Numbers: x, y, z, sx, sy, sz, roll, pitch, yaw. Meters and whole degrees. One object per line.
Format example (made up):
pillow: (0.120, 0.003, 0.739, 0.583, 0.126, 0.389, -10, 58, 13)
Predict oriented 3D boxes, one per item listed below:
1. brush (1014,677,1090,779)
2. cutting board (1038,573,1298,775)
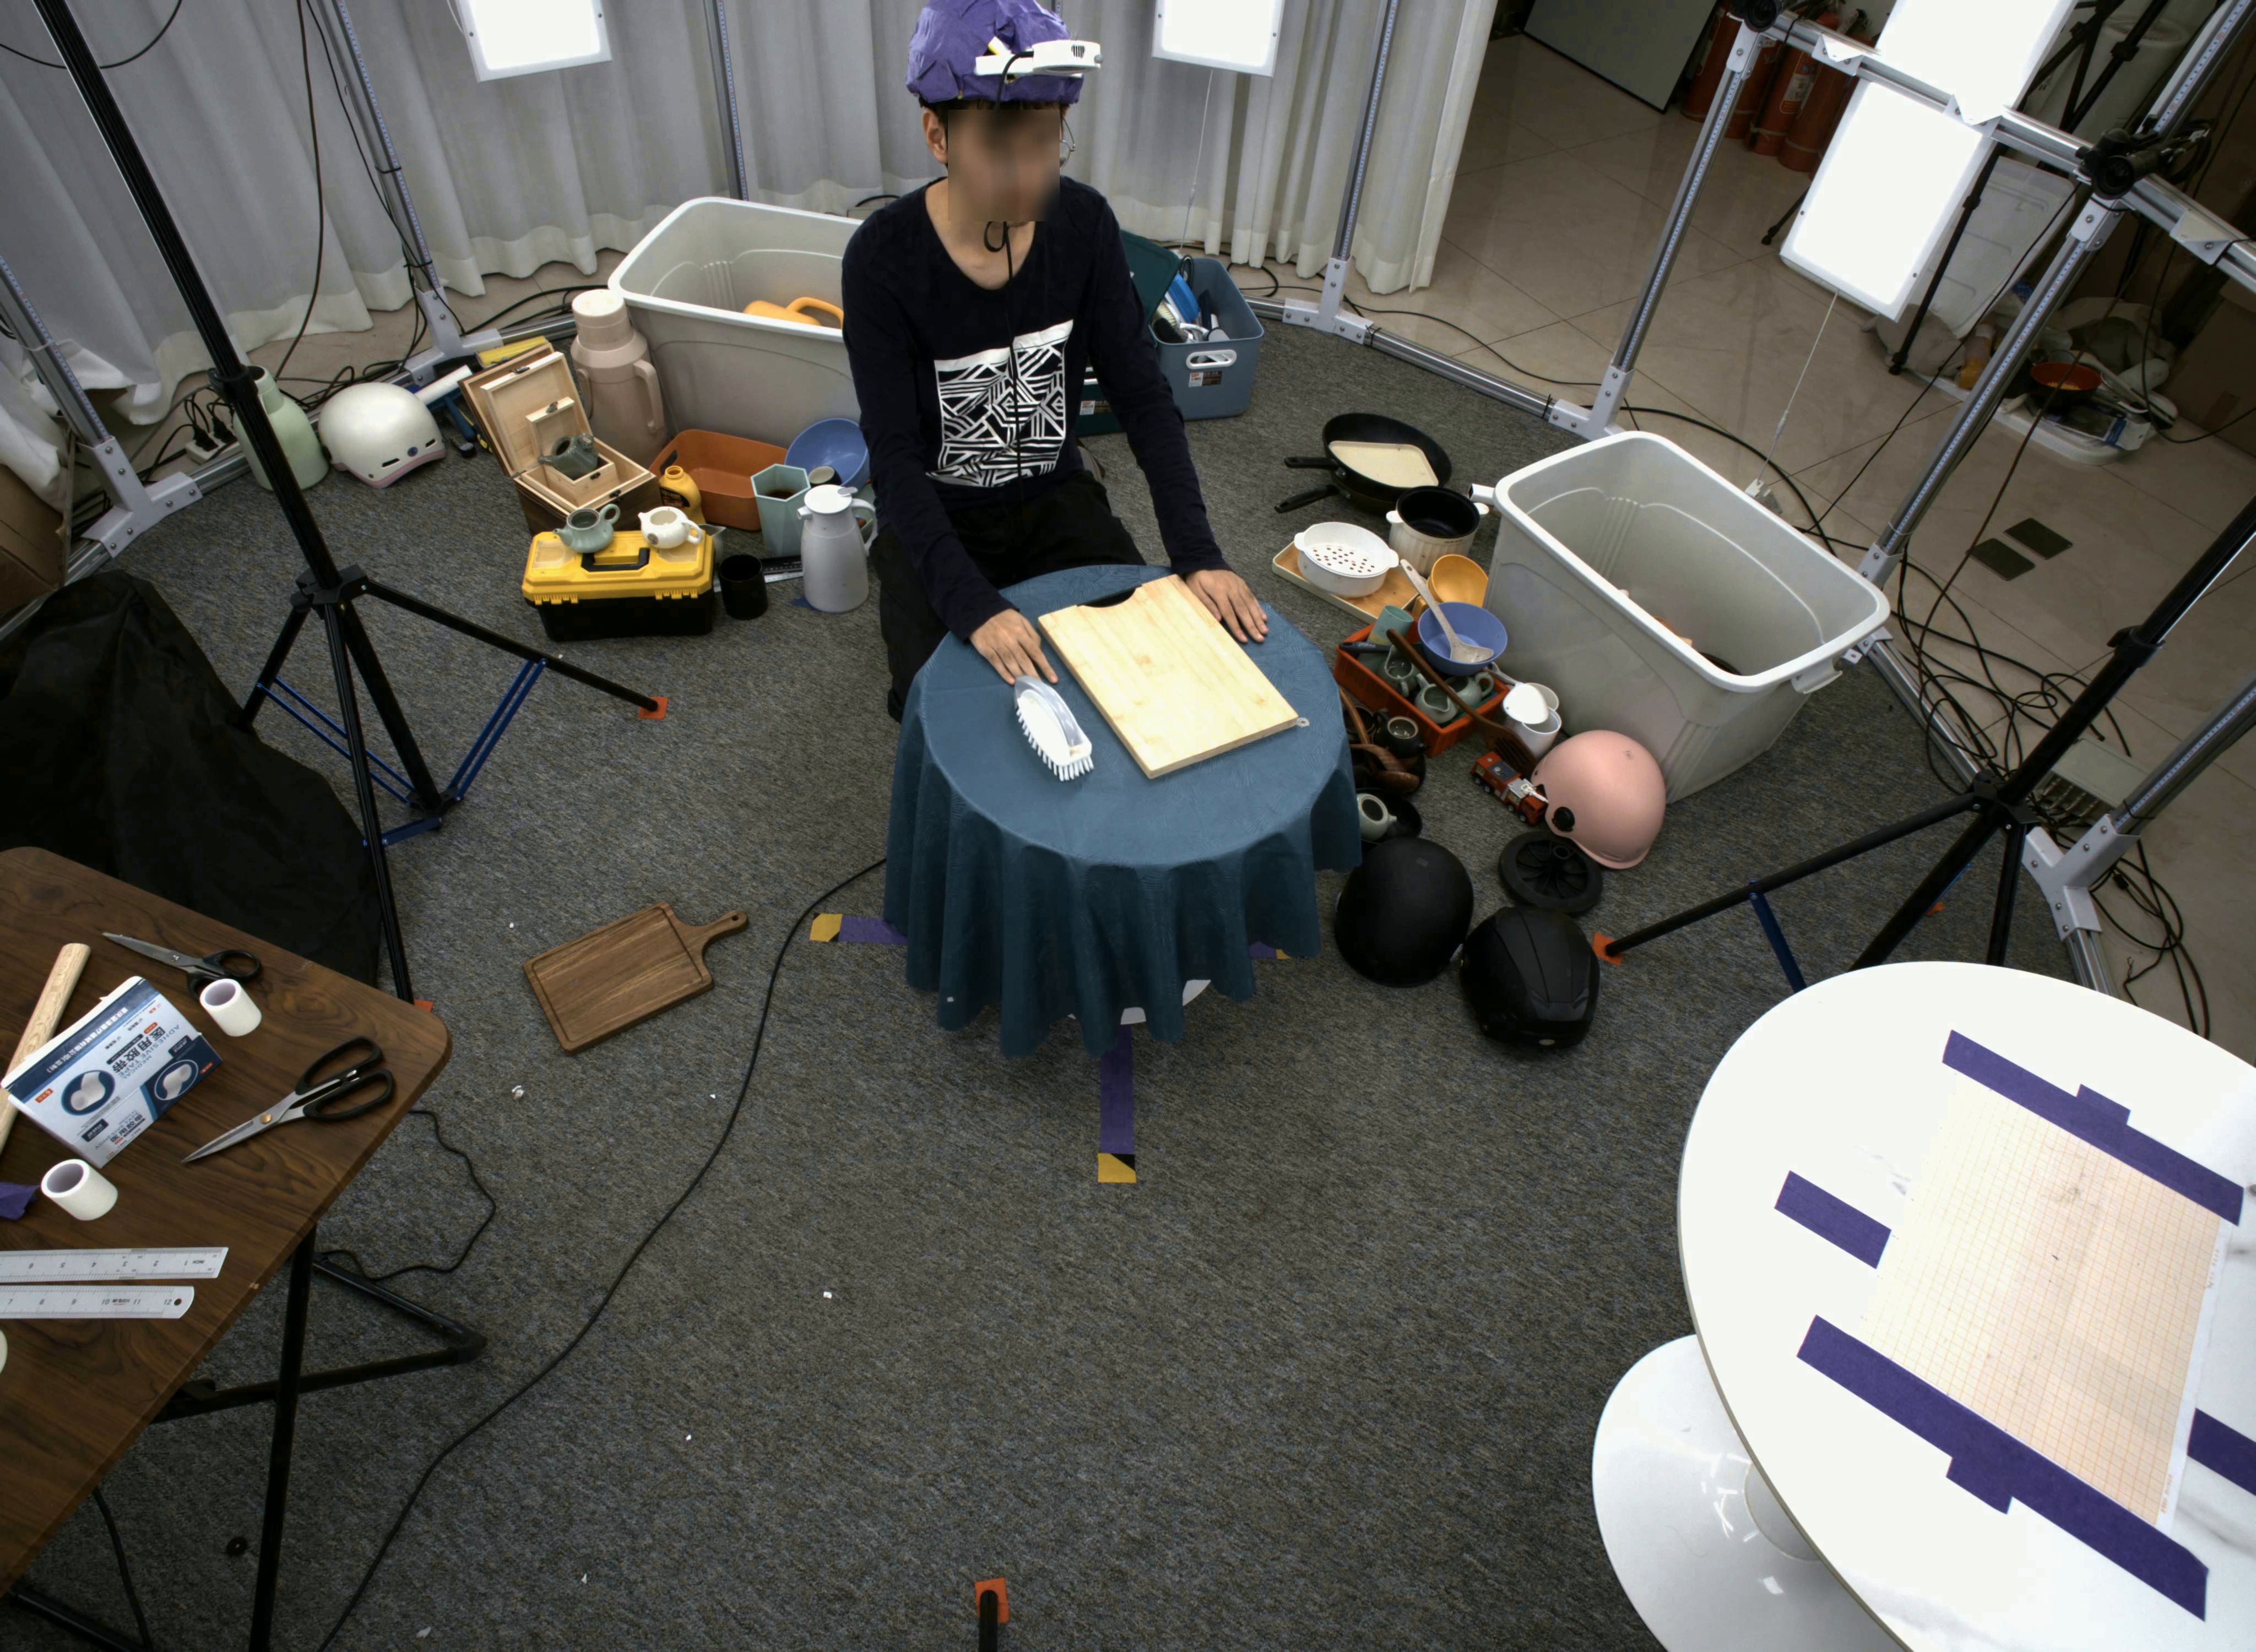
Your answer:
brush: (-0.112, -0.151, 1.732, 0.061, 0.092, 0.179, -22, 51, -21)
cutting board: (0.051, -0.228, 1.860, 0.251, 0.023, 0.356, -21, 53, -21)
